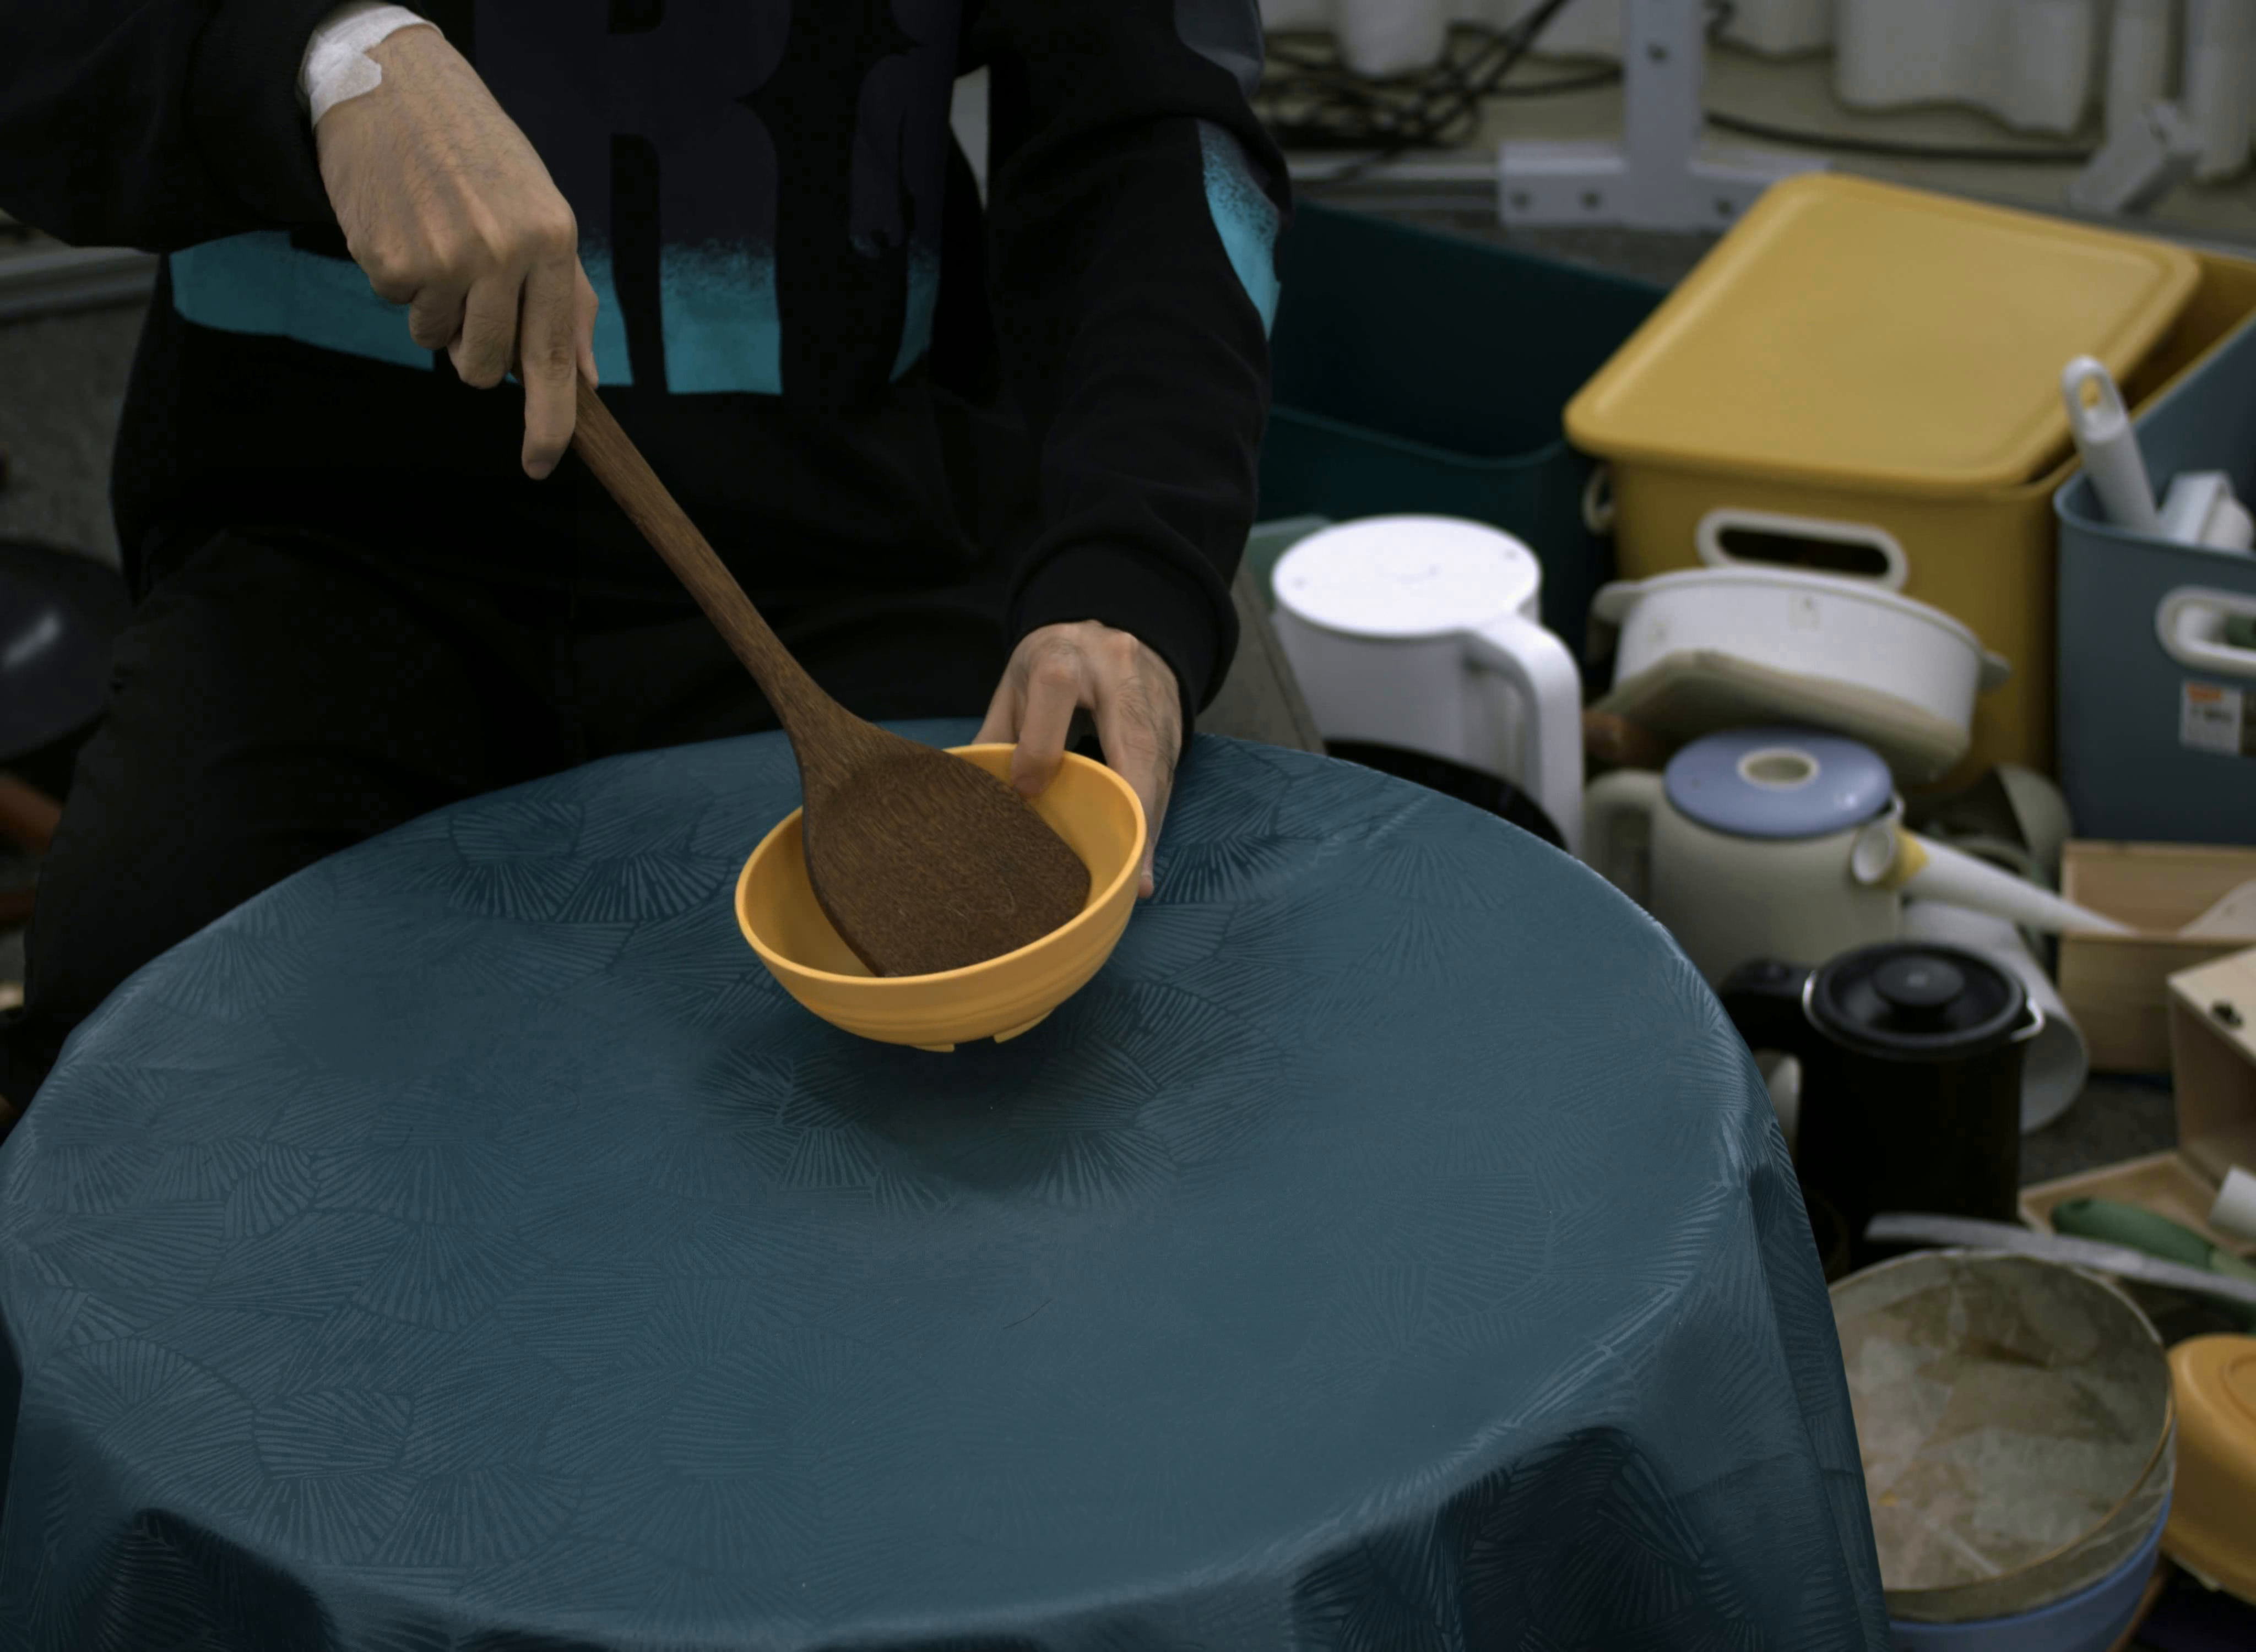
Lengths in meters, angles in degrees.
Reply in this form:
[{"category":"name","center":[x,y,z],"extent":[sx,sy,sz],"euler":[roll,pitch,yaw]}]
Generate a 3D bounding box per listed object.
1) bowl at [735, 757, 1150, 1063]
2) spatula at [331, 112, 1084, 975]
[{"category":"bowl","center":[-0.059,0.039,1.937],"extent":[0.144,0.059,0.148],"euler":[-8,30,5]},{"category":"spatula","center":[-0.157,-0.100,1.962],"extent":[0.097,0.015,0.387],"euler":[-34,82,-36]}]
